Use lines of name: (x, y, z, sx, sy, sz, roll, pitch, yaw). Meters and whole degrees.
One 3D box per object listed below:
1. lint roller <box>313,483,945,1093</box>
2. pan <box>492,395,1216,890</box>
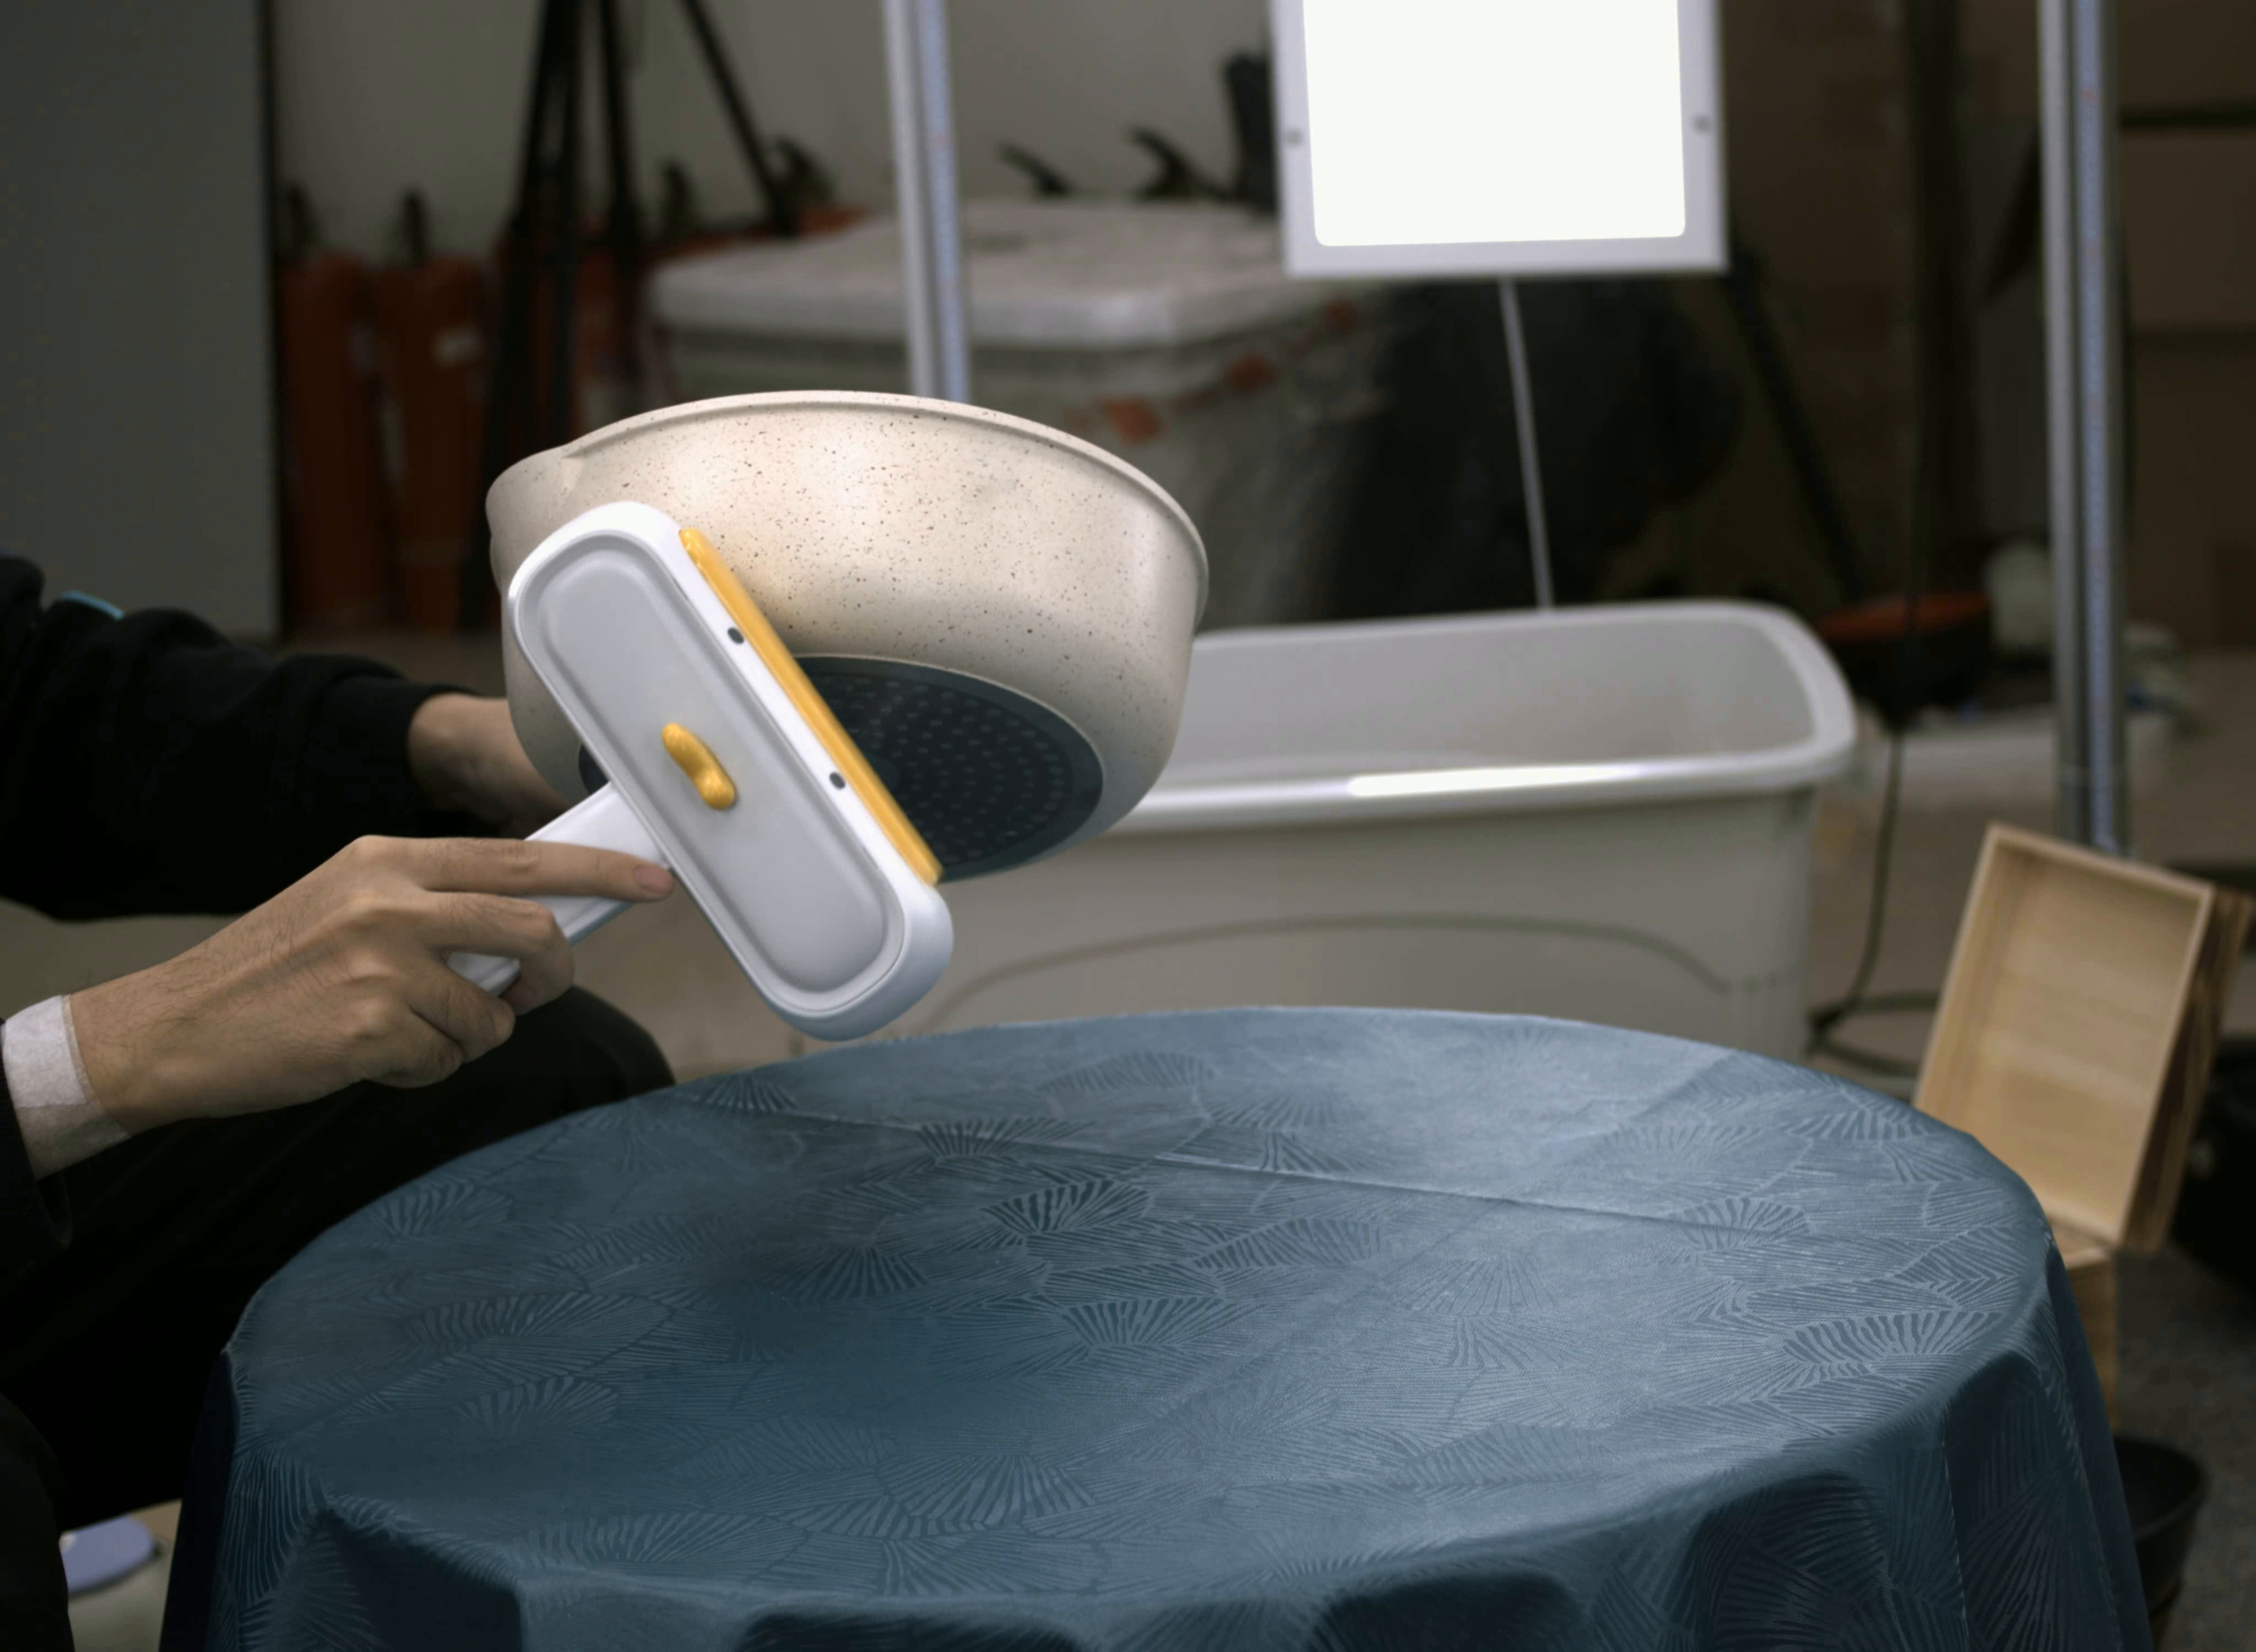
lint roller: (-0.179, 0.013, 1.774, 0.192, 0.193, 0.074, -39, -1, 2)
pan: (-0.136, -0.025, 1.987, 0.258, 0.102, 0.443, 11, -27, -24)
